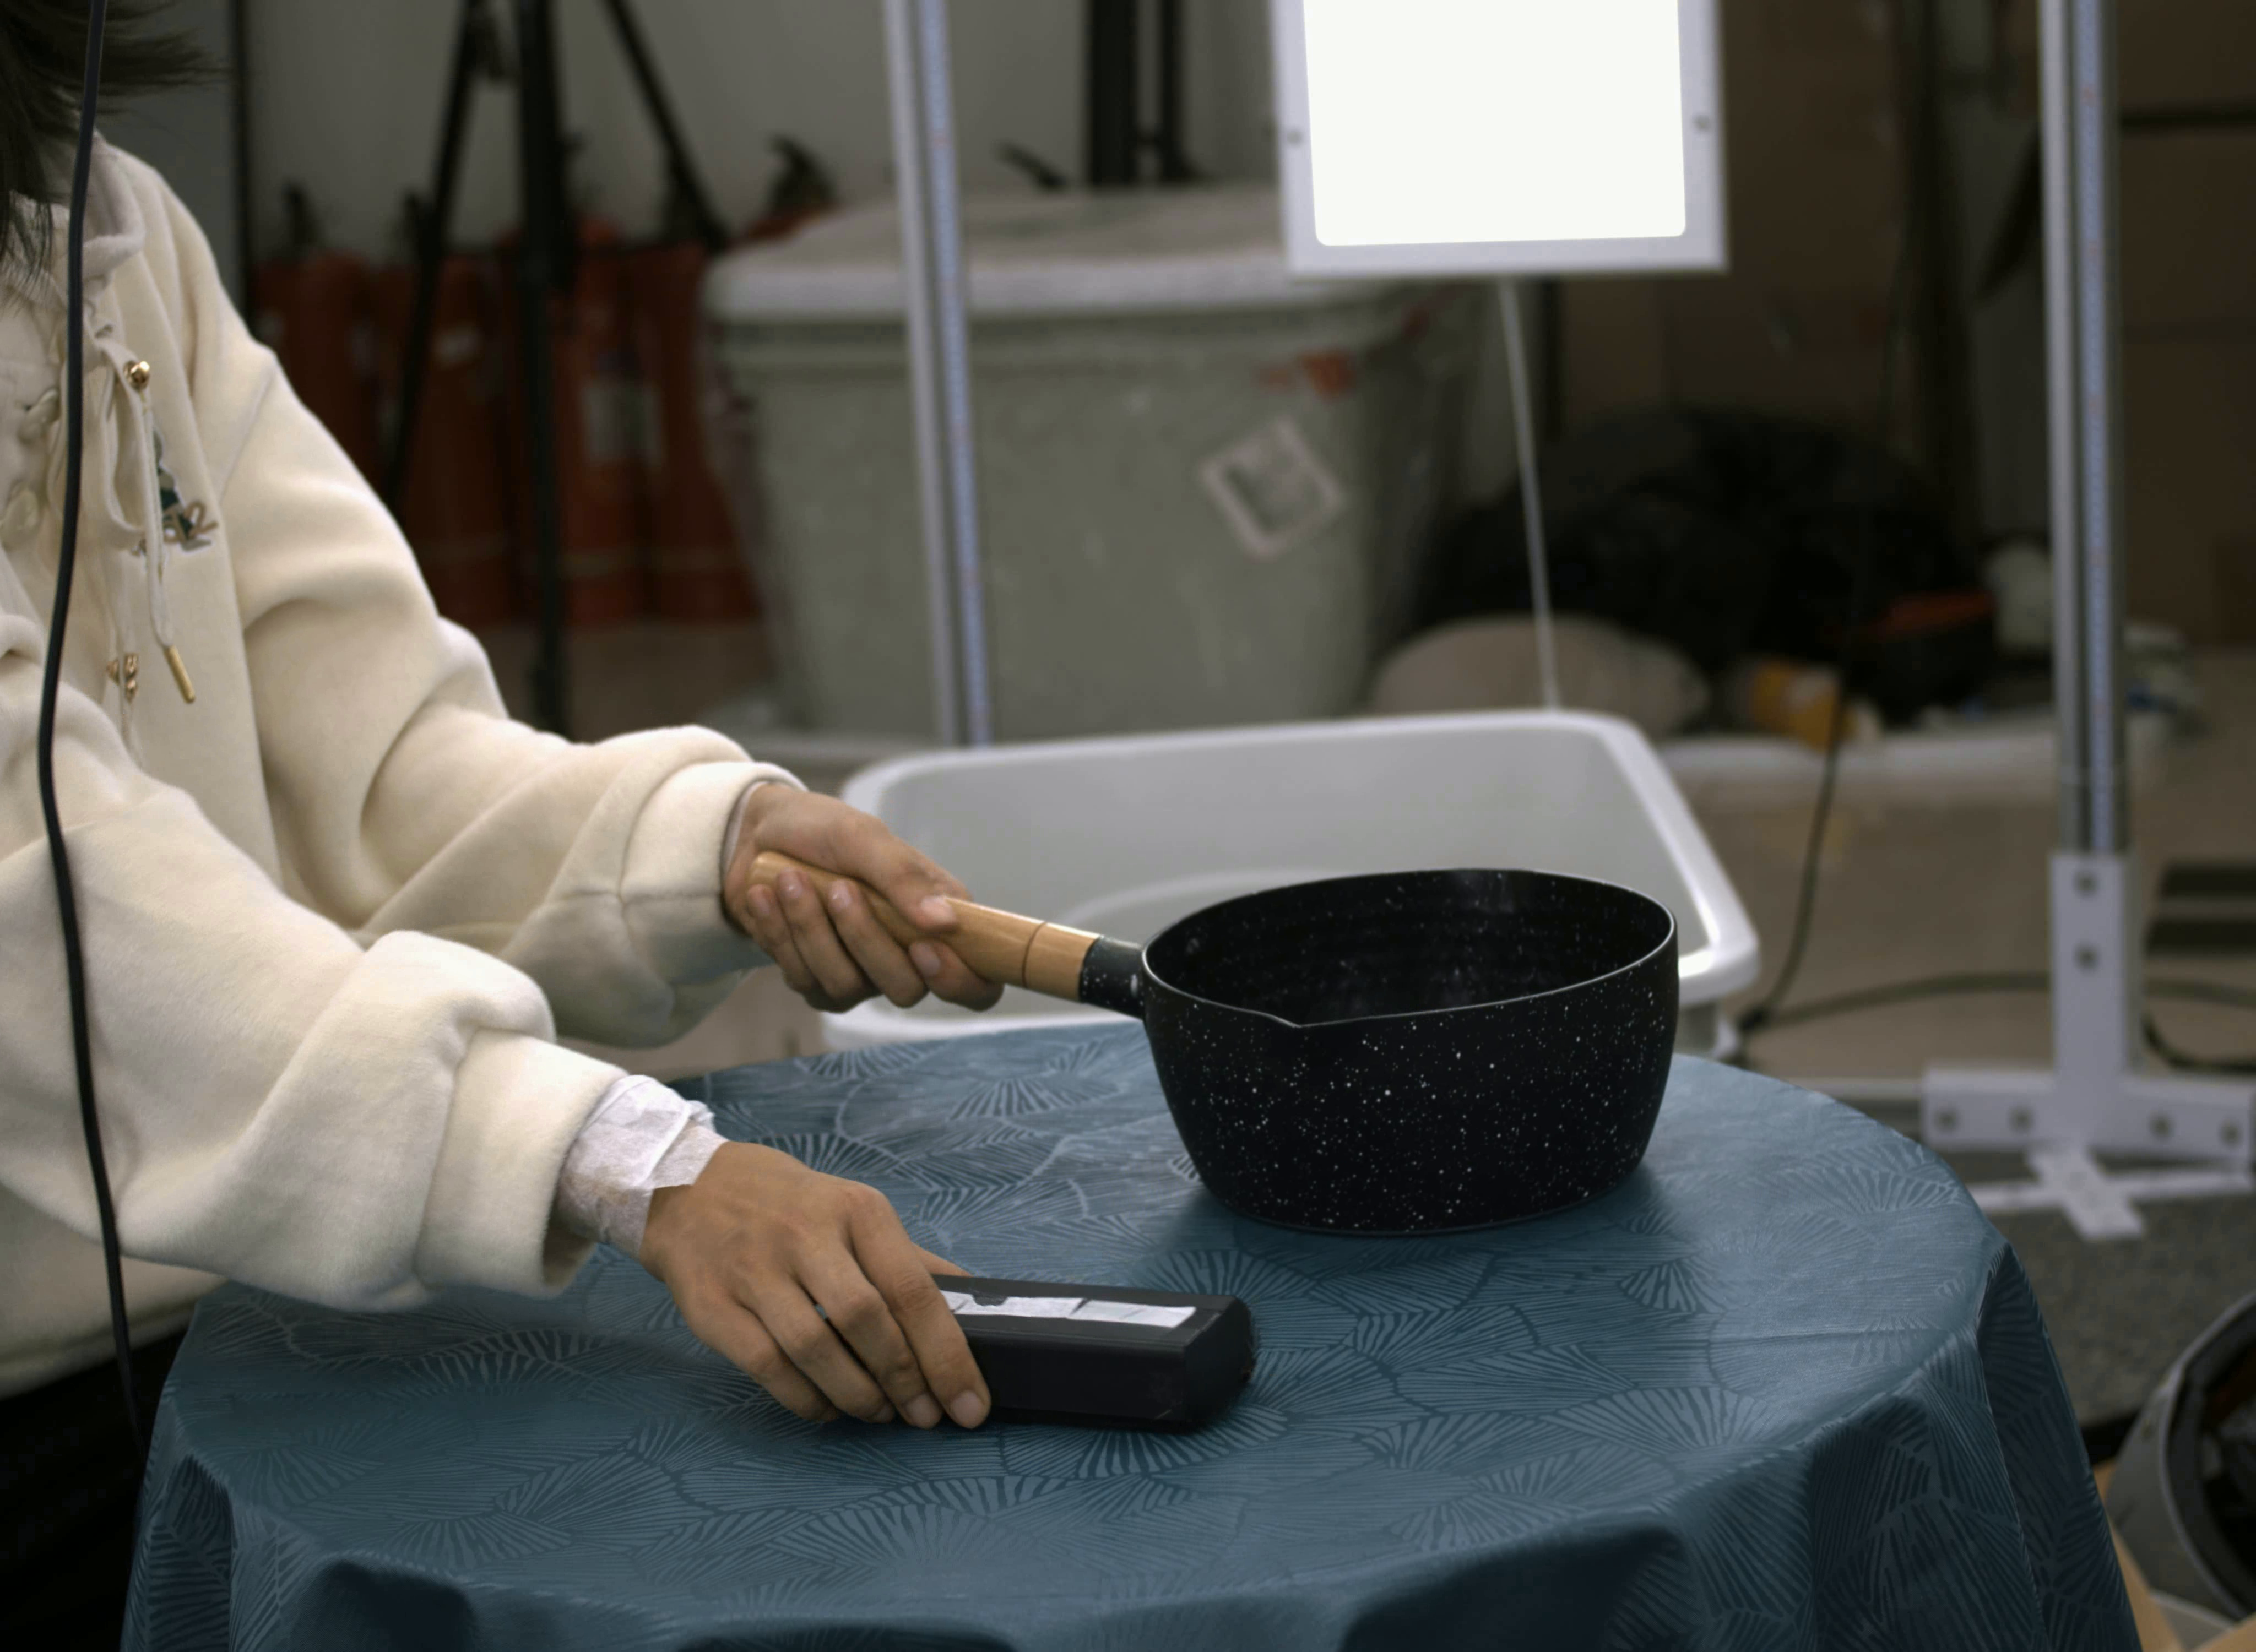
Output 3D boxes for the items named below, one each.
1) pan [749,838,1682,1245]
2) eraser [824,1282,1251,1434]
[{"bbox_3d":[0.025,0.065,1.911,0.348,0.108,0.203,2,16,23],"label":"pan"},{"bbox_3d":[-0.026,0.163,1.699,0.127,0.030,0.052,1,15,25],"label":"eraser"}]
